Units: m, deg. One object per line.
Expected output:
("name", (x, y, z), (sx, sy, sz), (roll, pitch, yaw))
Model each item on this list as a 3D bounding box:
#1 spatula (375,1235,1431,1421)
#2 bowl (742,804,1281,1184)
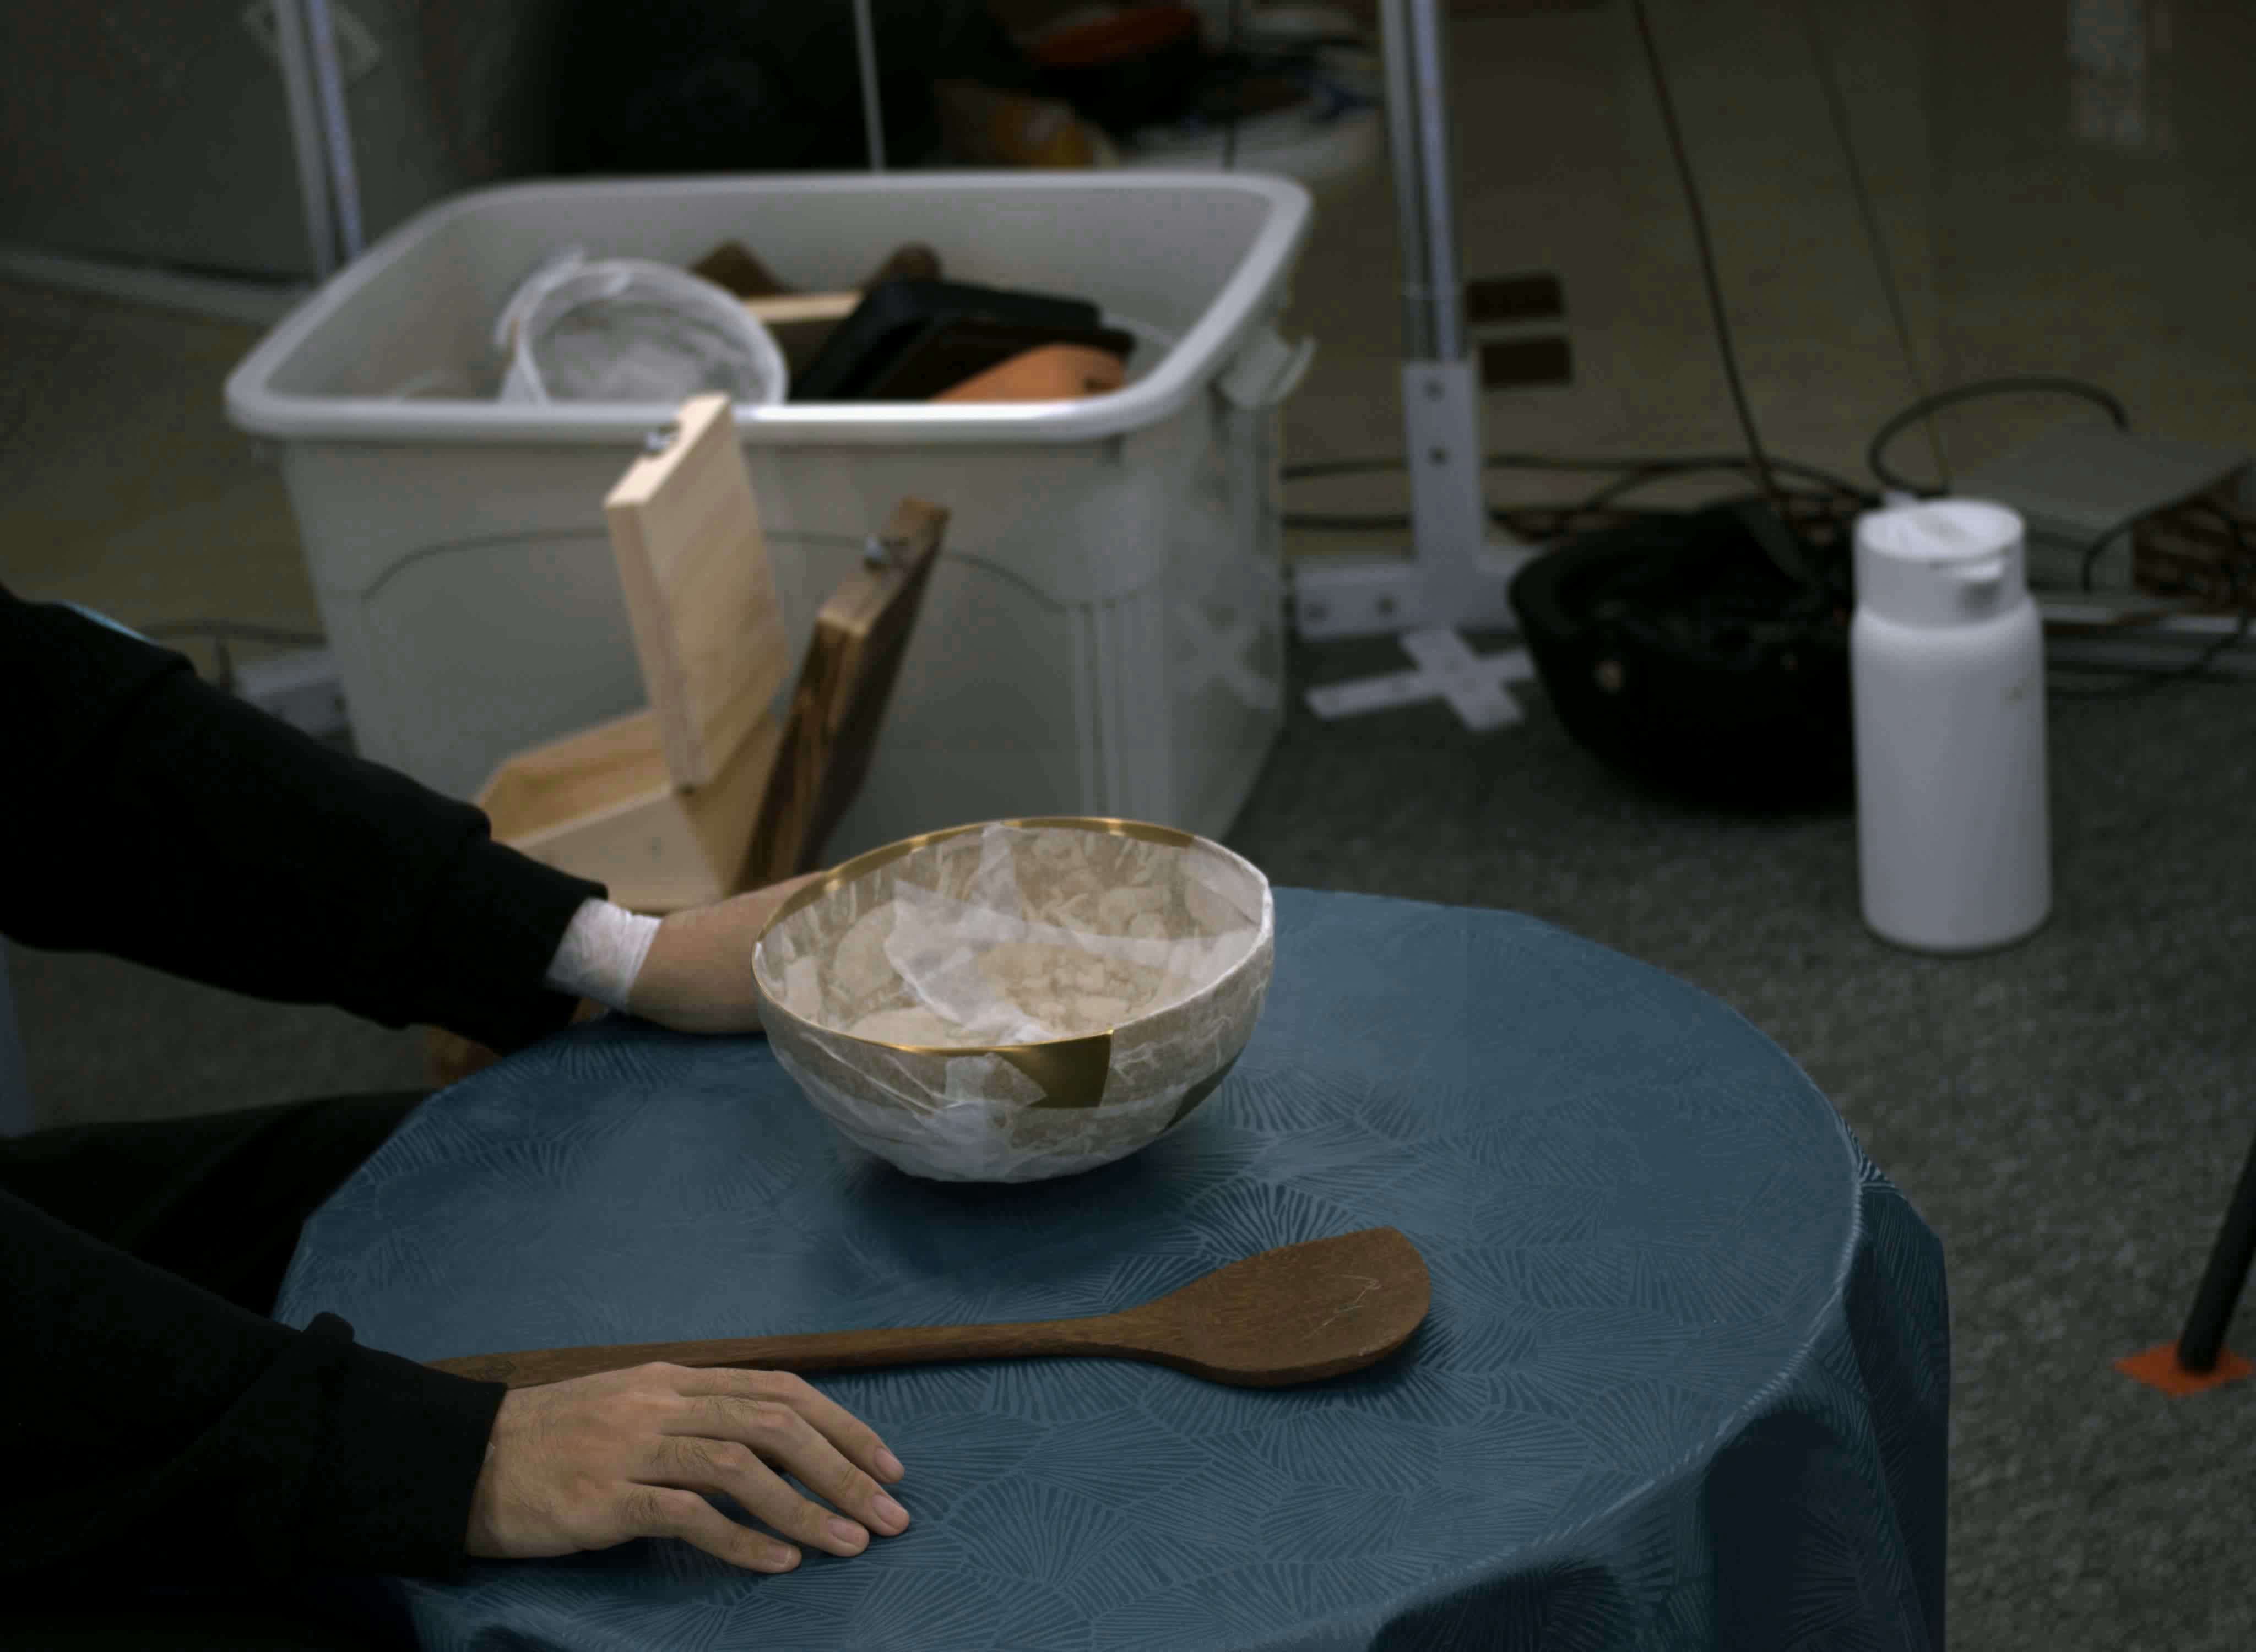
("spatula", (-0.083, 0.189, 2.050), (0.385, 0.016, 0.095), (-5, 24, 3))
("bowl", (-0.041, 0.077, 2.182), (0.214, 0.096, 0.211), (-6, 26, 3))
